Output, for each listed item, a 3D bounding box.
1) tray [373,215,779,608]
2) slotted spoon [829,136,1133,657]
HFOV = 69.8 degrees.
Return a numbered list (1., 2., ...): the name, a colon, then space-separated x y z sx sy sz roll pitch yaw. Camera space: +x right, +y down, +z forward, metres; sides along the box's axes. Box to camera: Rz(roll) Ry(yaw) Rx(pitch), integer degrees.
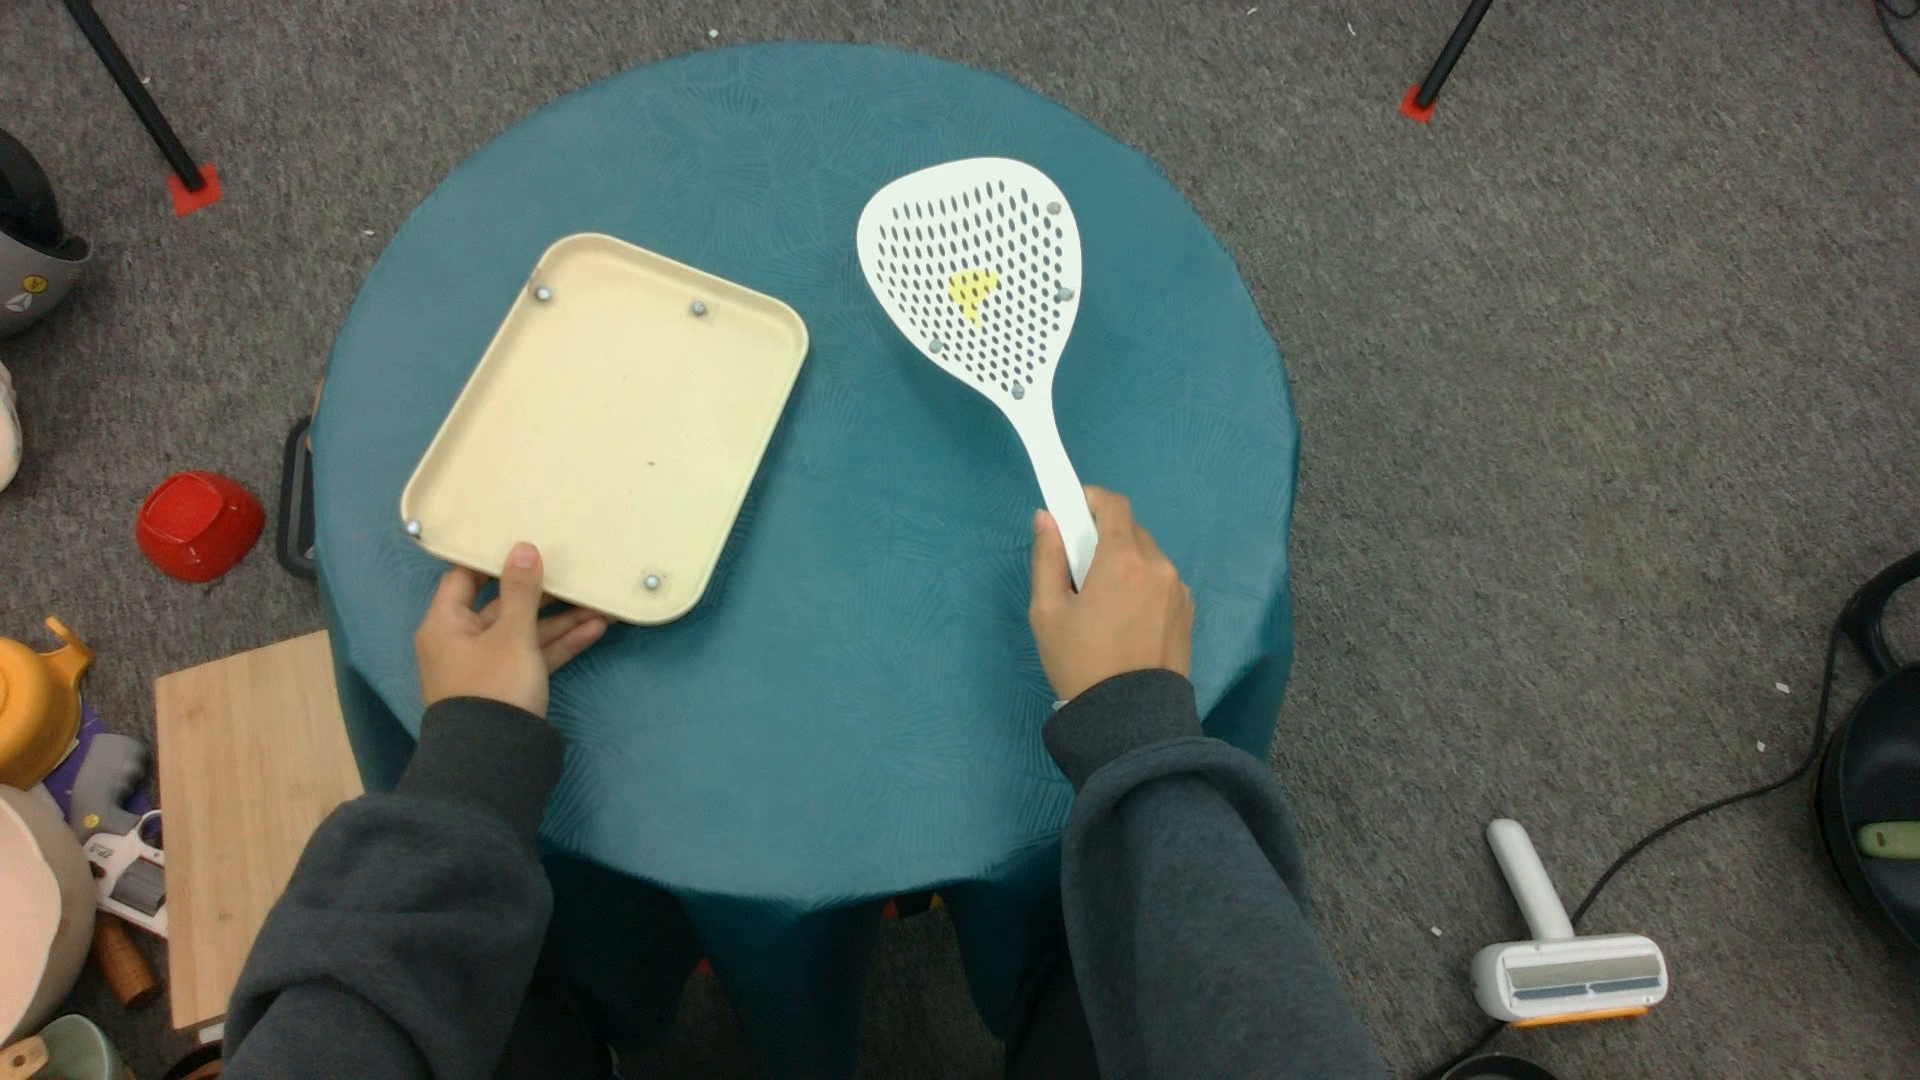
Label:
1. tray: -0.216 -0.080 0.805 0.171 0.017 0.241 20 59 -5
2. slotted spoon: 0.025 -0.092 0.804 0.137 0.050 0.349 -16 64 -10
